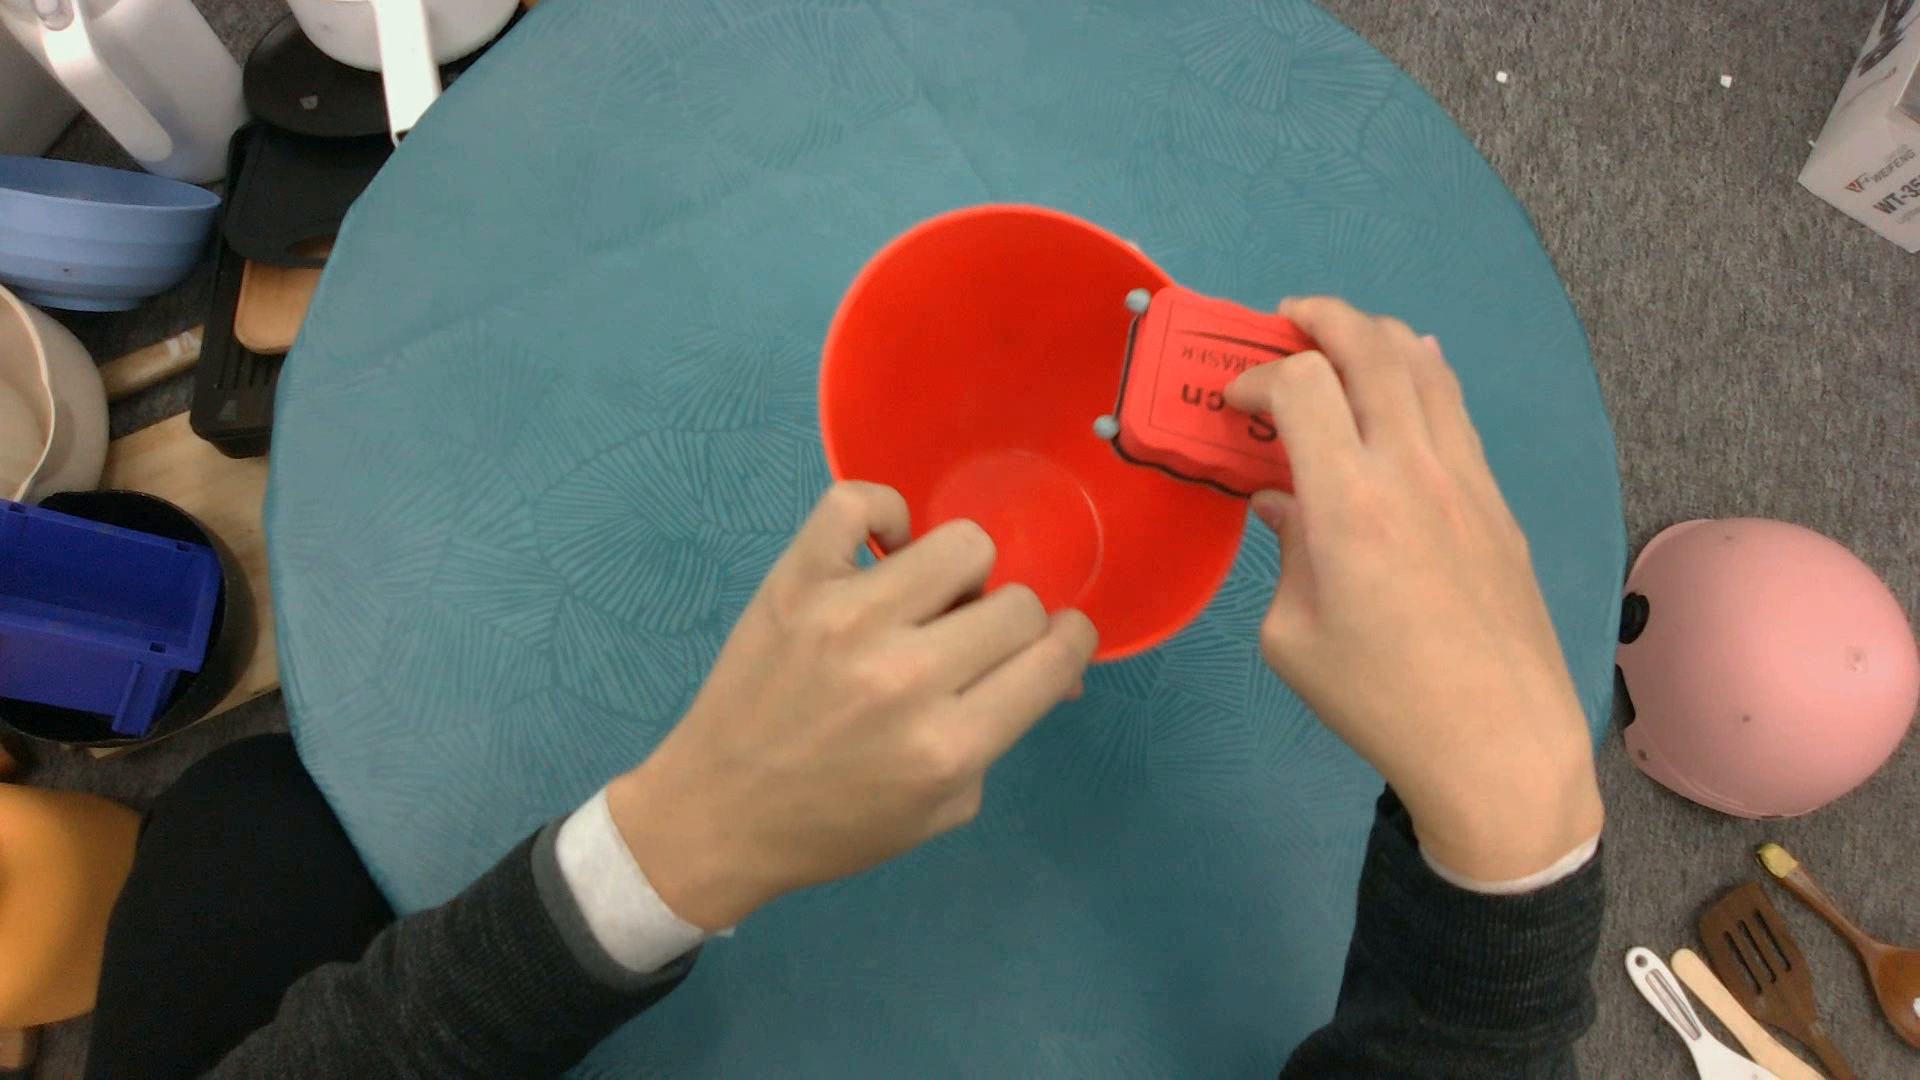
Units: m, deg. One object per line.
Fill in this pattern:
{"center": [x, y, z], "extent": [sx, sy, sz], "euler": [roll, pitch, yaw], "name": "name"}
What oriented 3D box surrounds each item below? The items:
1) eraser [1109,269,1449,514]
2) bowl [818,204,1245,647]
{"center": [0.106, -0.048, 0.453], "extent": [0.108, 0.023, 0.059], "euler": [14, 73, -9], "name": "eraser"}
{"center": [0.019, -0.027, 0.477], "extent": [0.148, 0.104, 0.148], "euler": [4, 70, -12], "name": "bowl"}
